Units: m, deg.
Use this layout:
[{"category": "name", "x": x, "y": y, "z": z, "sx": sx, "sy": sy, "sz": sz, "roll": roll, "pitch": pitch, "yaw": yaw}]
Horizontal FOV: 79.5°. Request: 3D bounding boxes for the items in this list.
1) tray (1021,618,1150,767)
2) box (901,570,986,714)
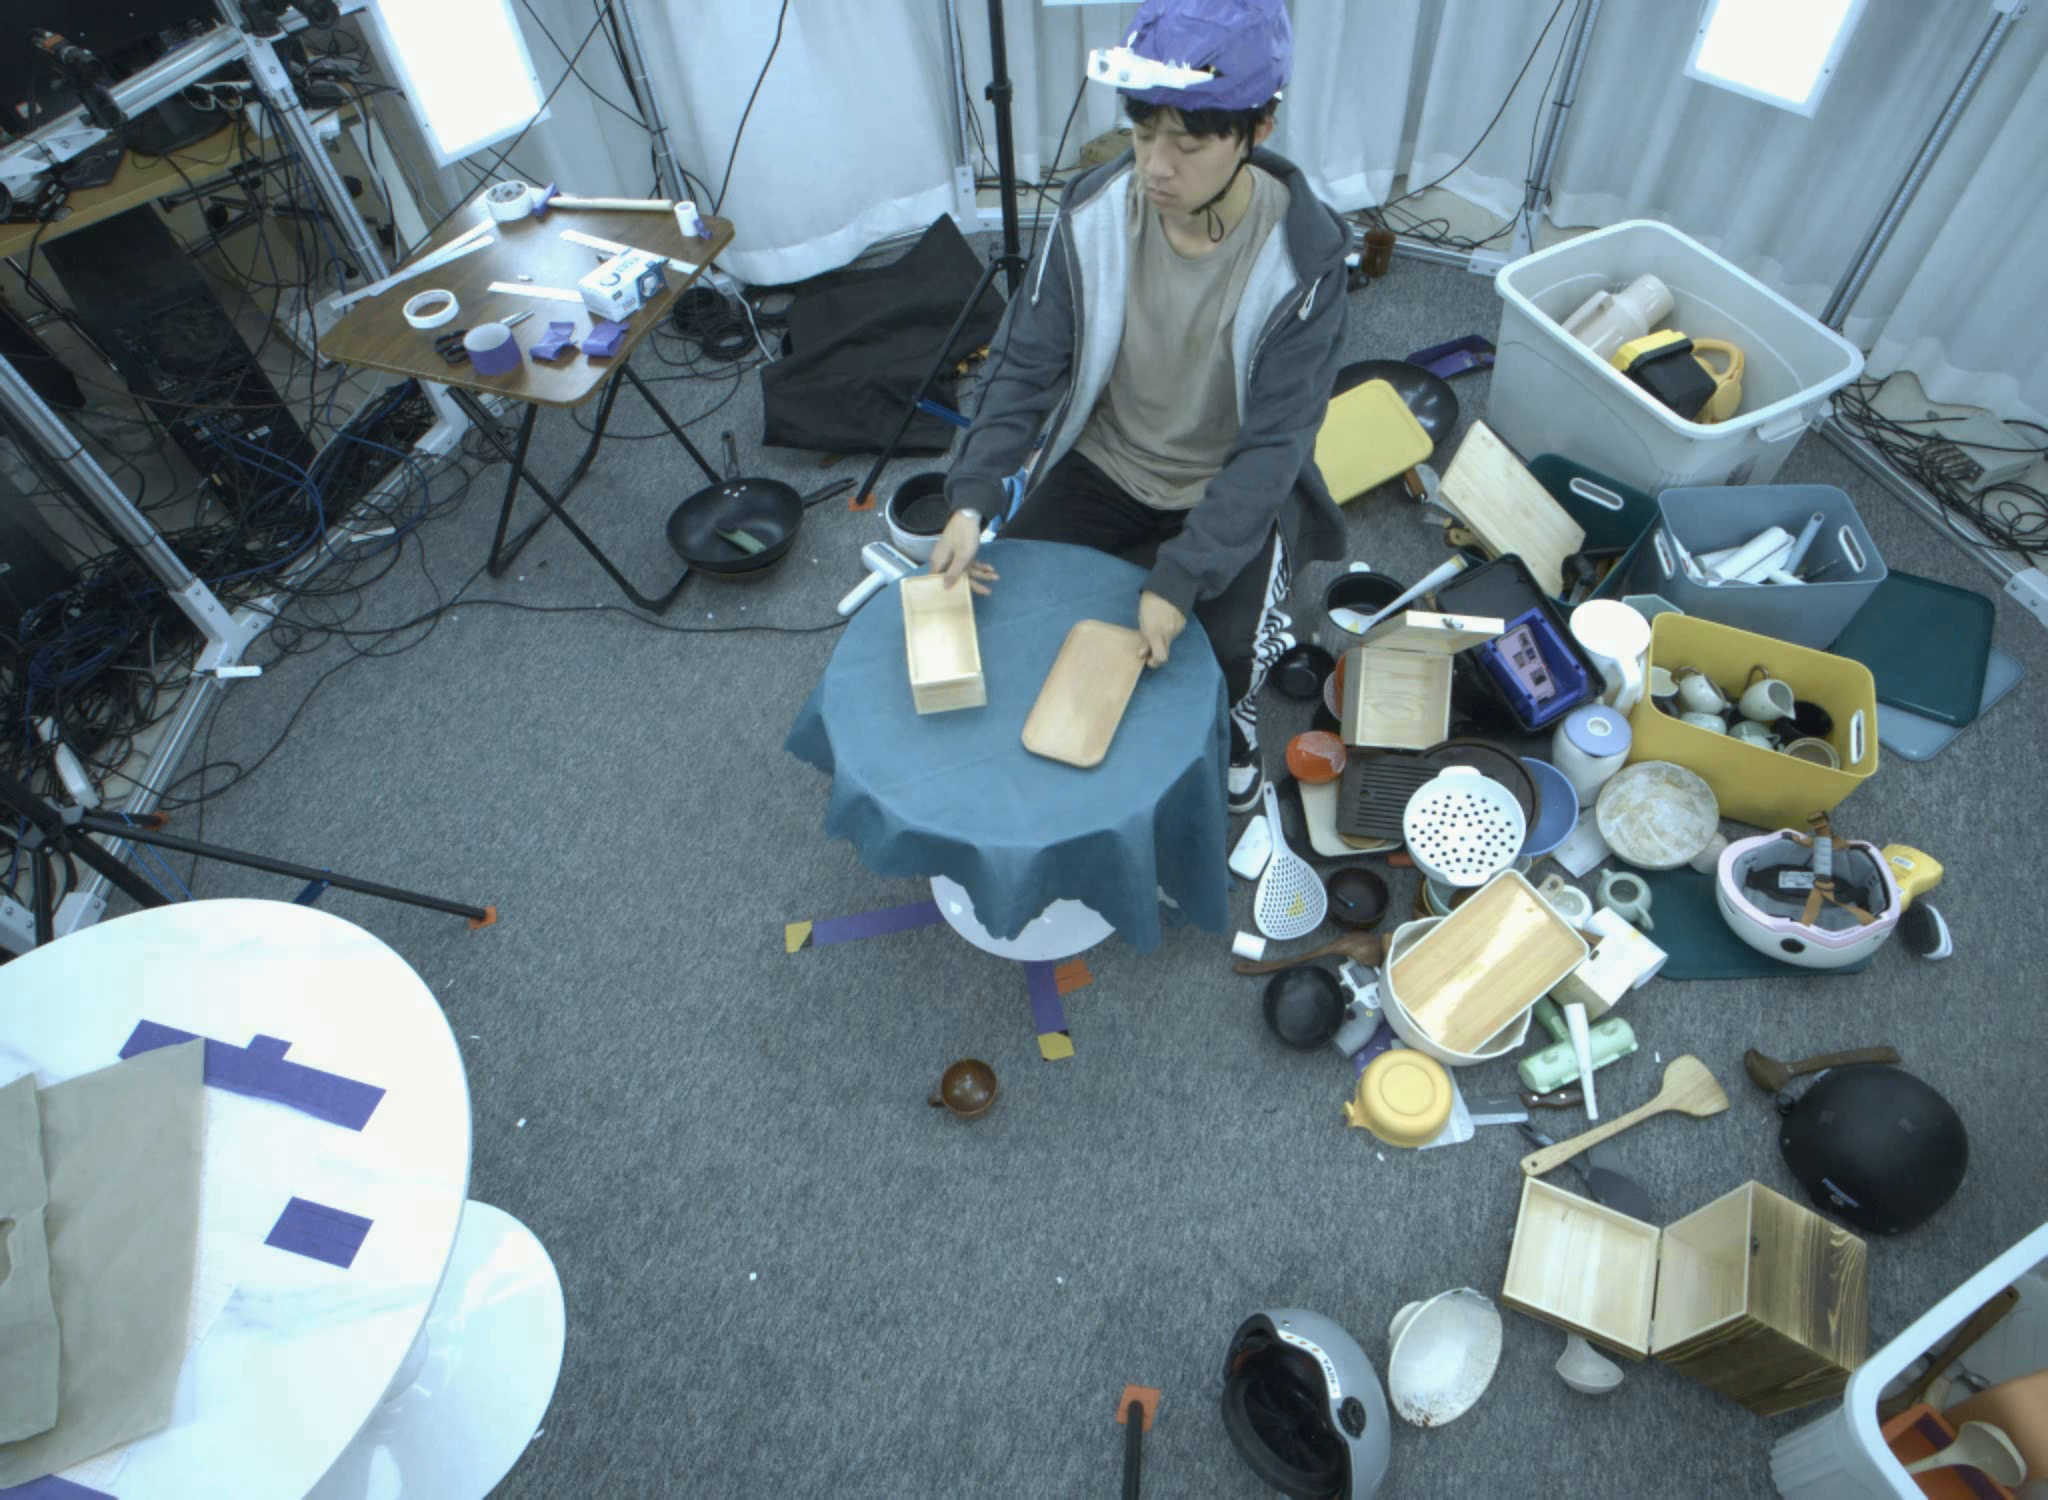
[{"category": "tray", "x": 0.093, "y": -0.087, "z": 1.826, "sx": 0.129, "sy": 0.023, "sz": 0.250, "roll": 19, "pitch": 62, "yaw": 12}, {"category": "box", "x": -0.124, "y": -0.167, "z": 1.864, "sx": 0.108, "sy": 0.081, "sz": 0.208, "roll": -8, "pitch": 54, "yaw": -3}]
